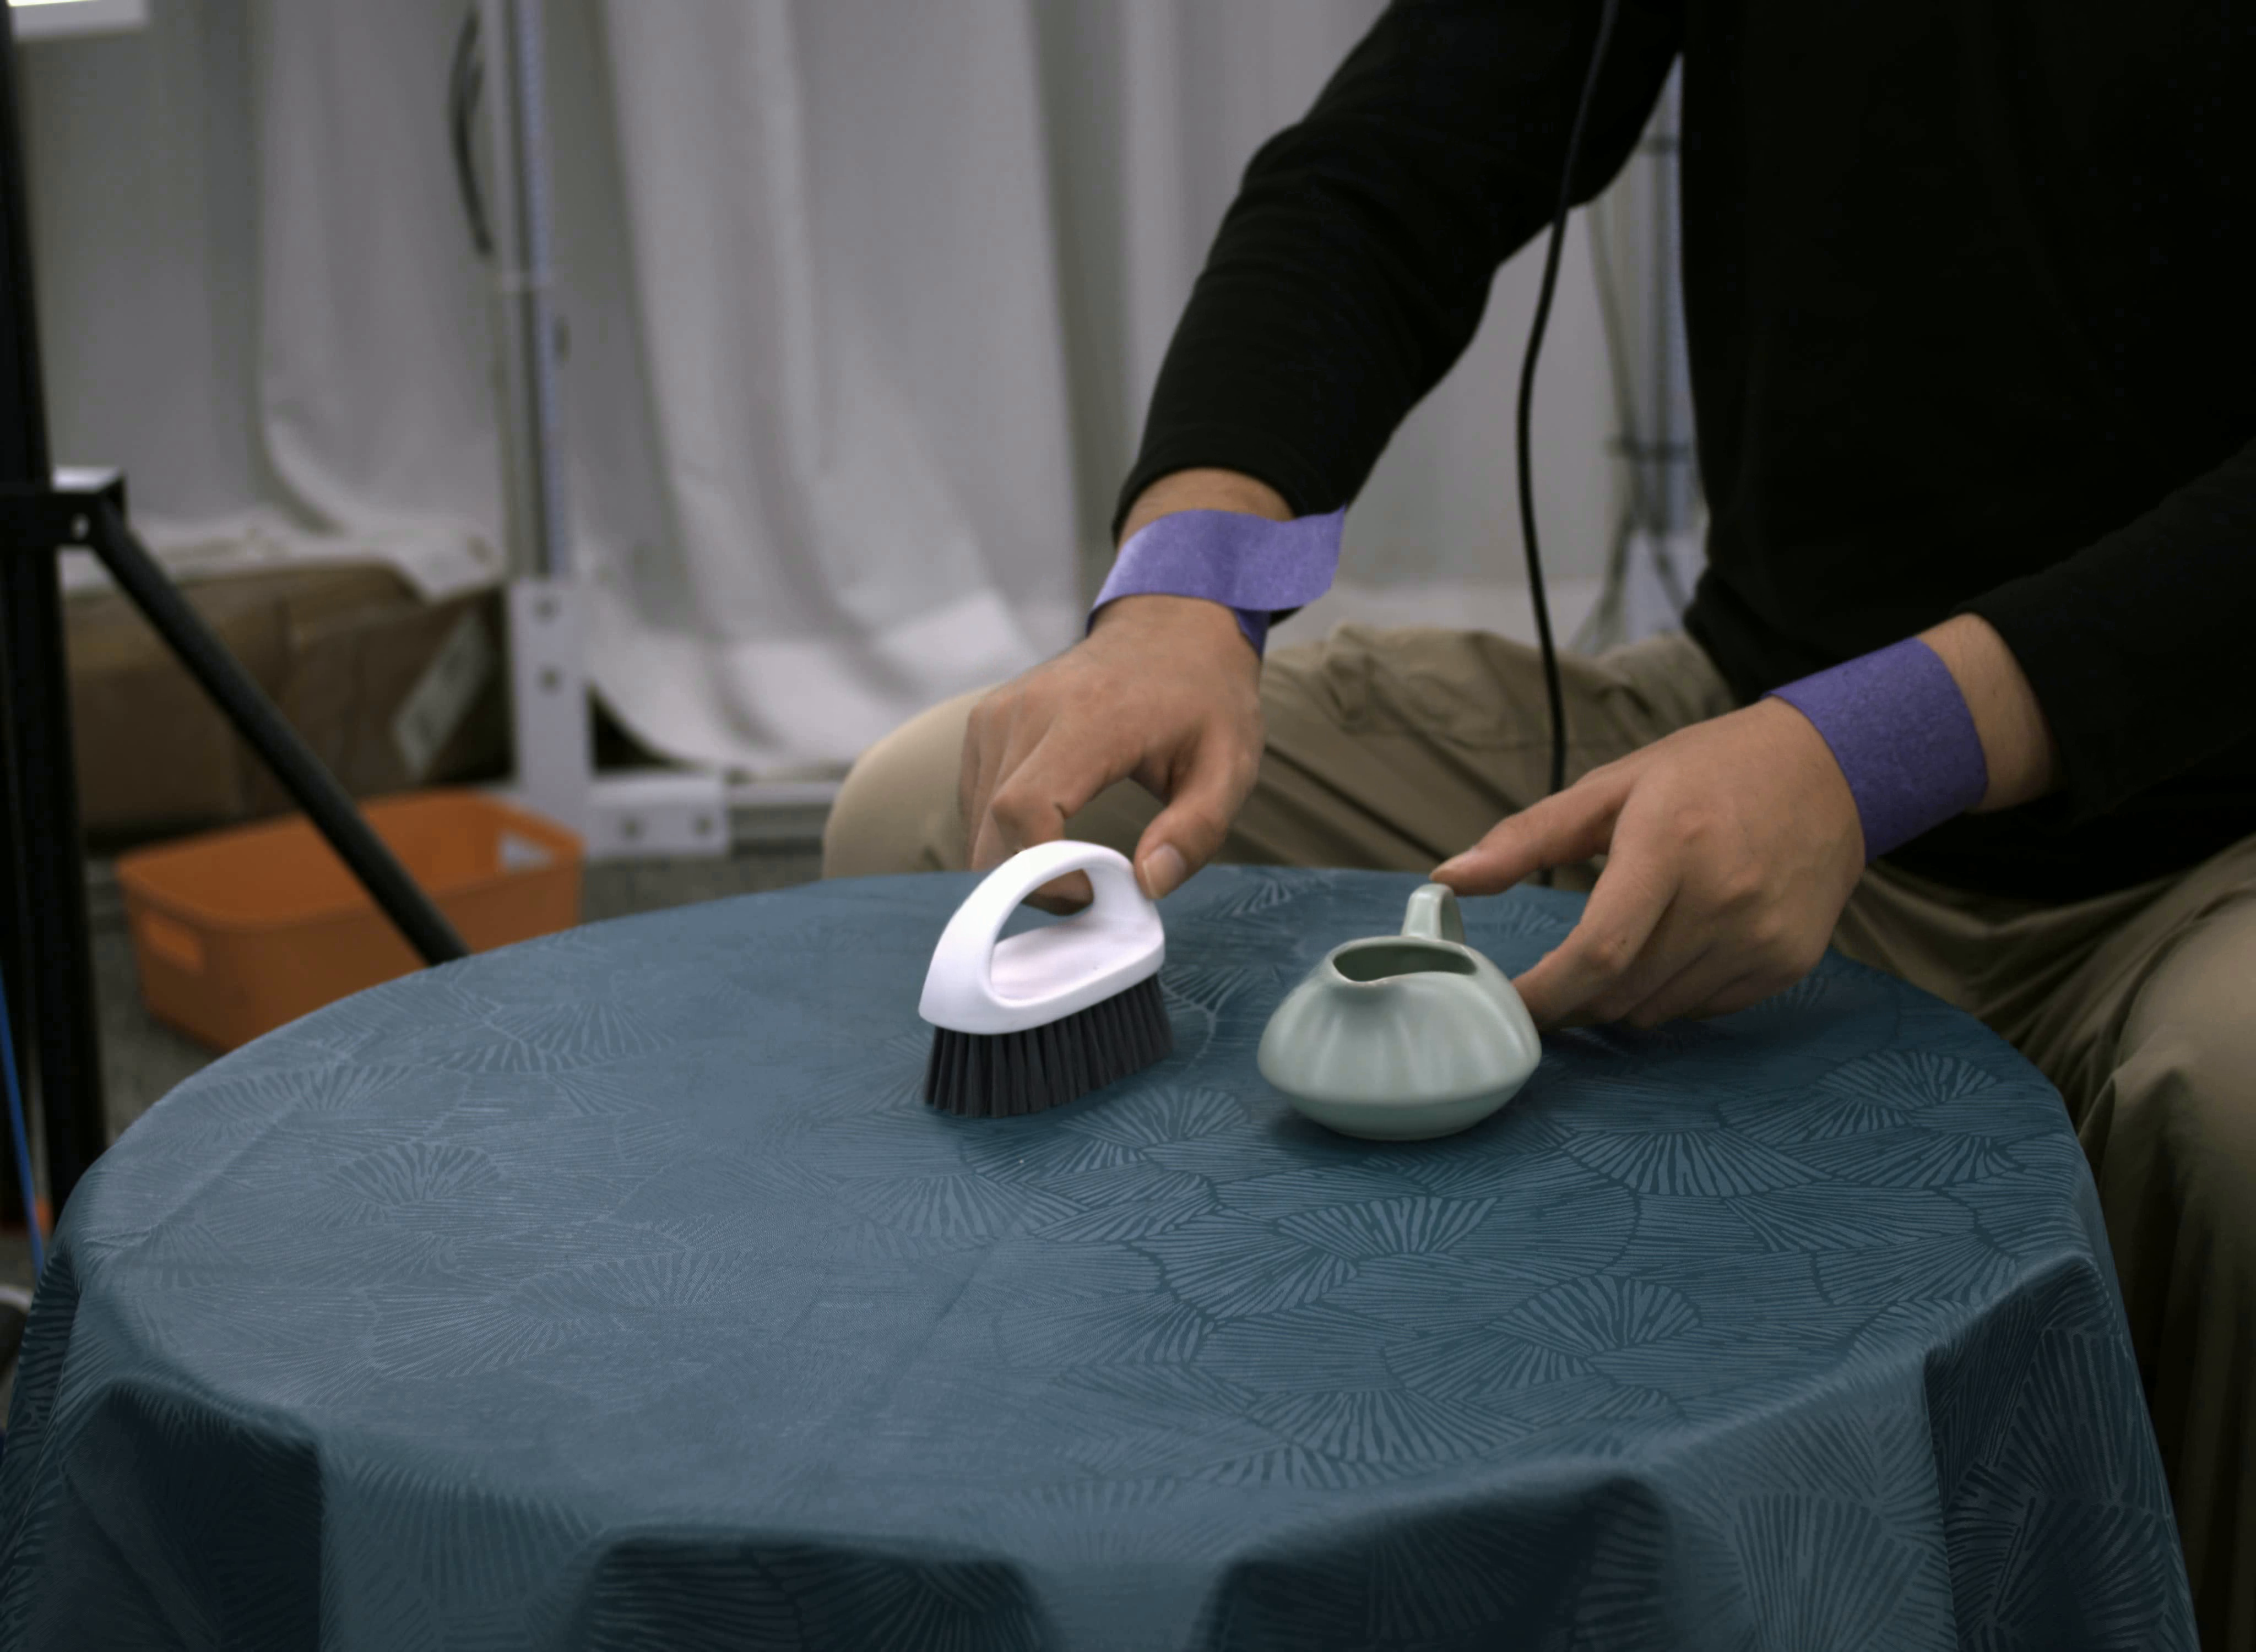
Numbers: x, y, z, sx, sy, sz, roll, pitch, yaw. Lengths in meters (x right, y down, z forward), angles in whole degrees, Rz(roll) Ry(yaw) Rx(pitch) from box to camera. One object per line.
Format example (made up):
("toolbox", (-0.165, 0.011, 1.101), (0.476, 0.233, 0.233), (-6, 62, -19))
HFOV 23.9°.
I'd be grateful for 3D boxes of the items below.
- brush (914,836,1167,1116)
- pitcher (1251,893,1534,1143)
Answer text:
("brush", (-0.027, 0.041, 1.664), (0.051, 0.072, 0.097), (12, 22, 37))
("pitcher", (0.083, 0.059, 1.617), (0.087, 0.060, 0.107), (2, 14, 16))
